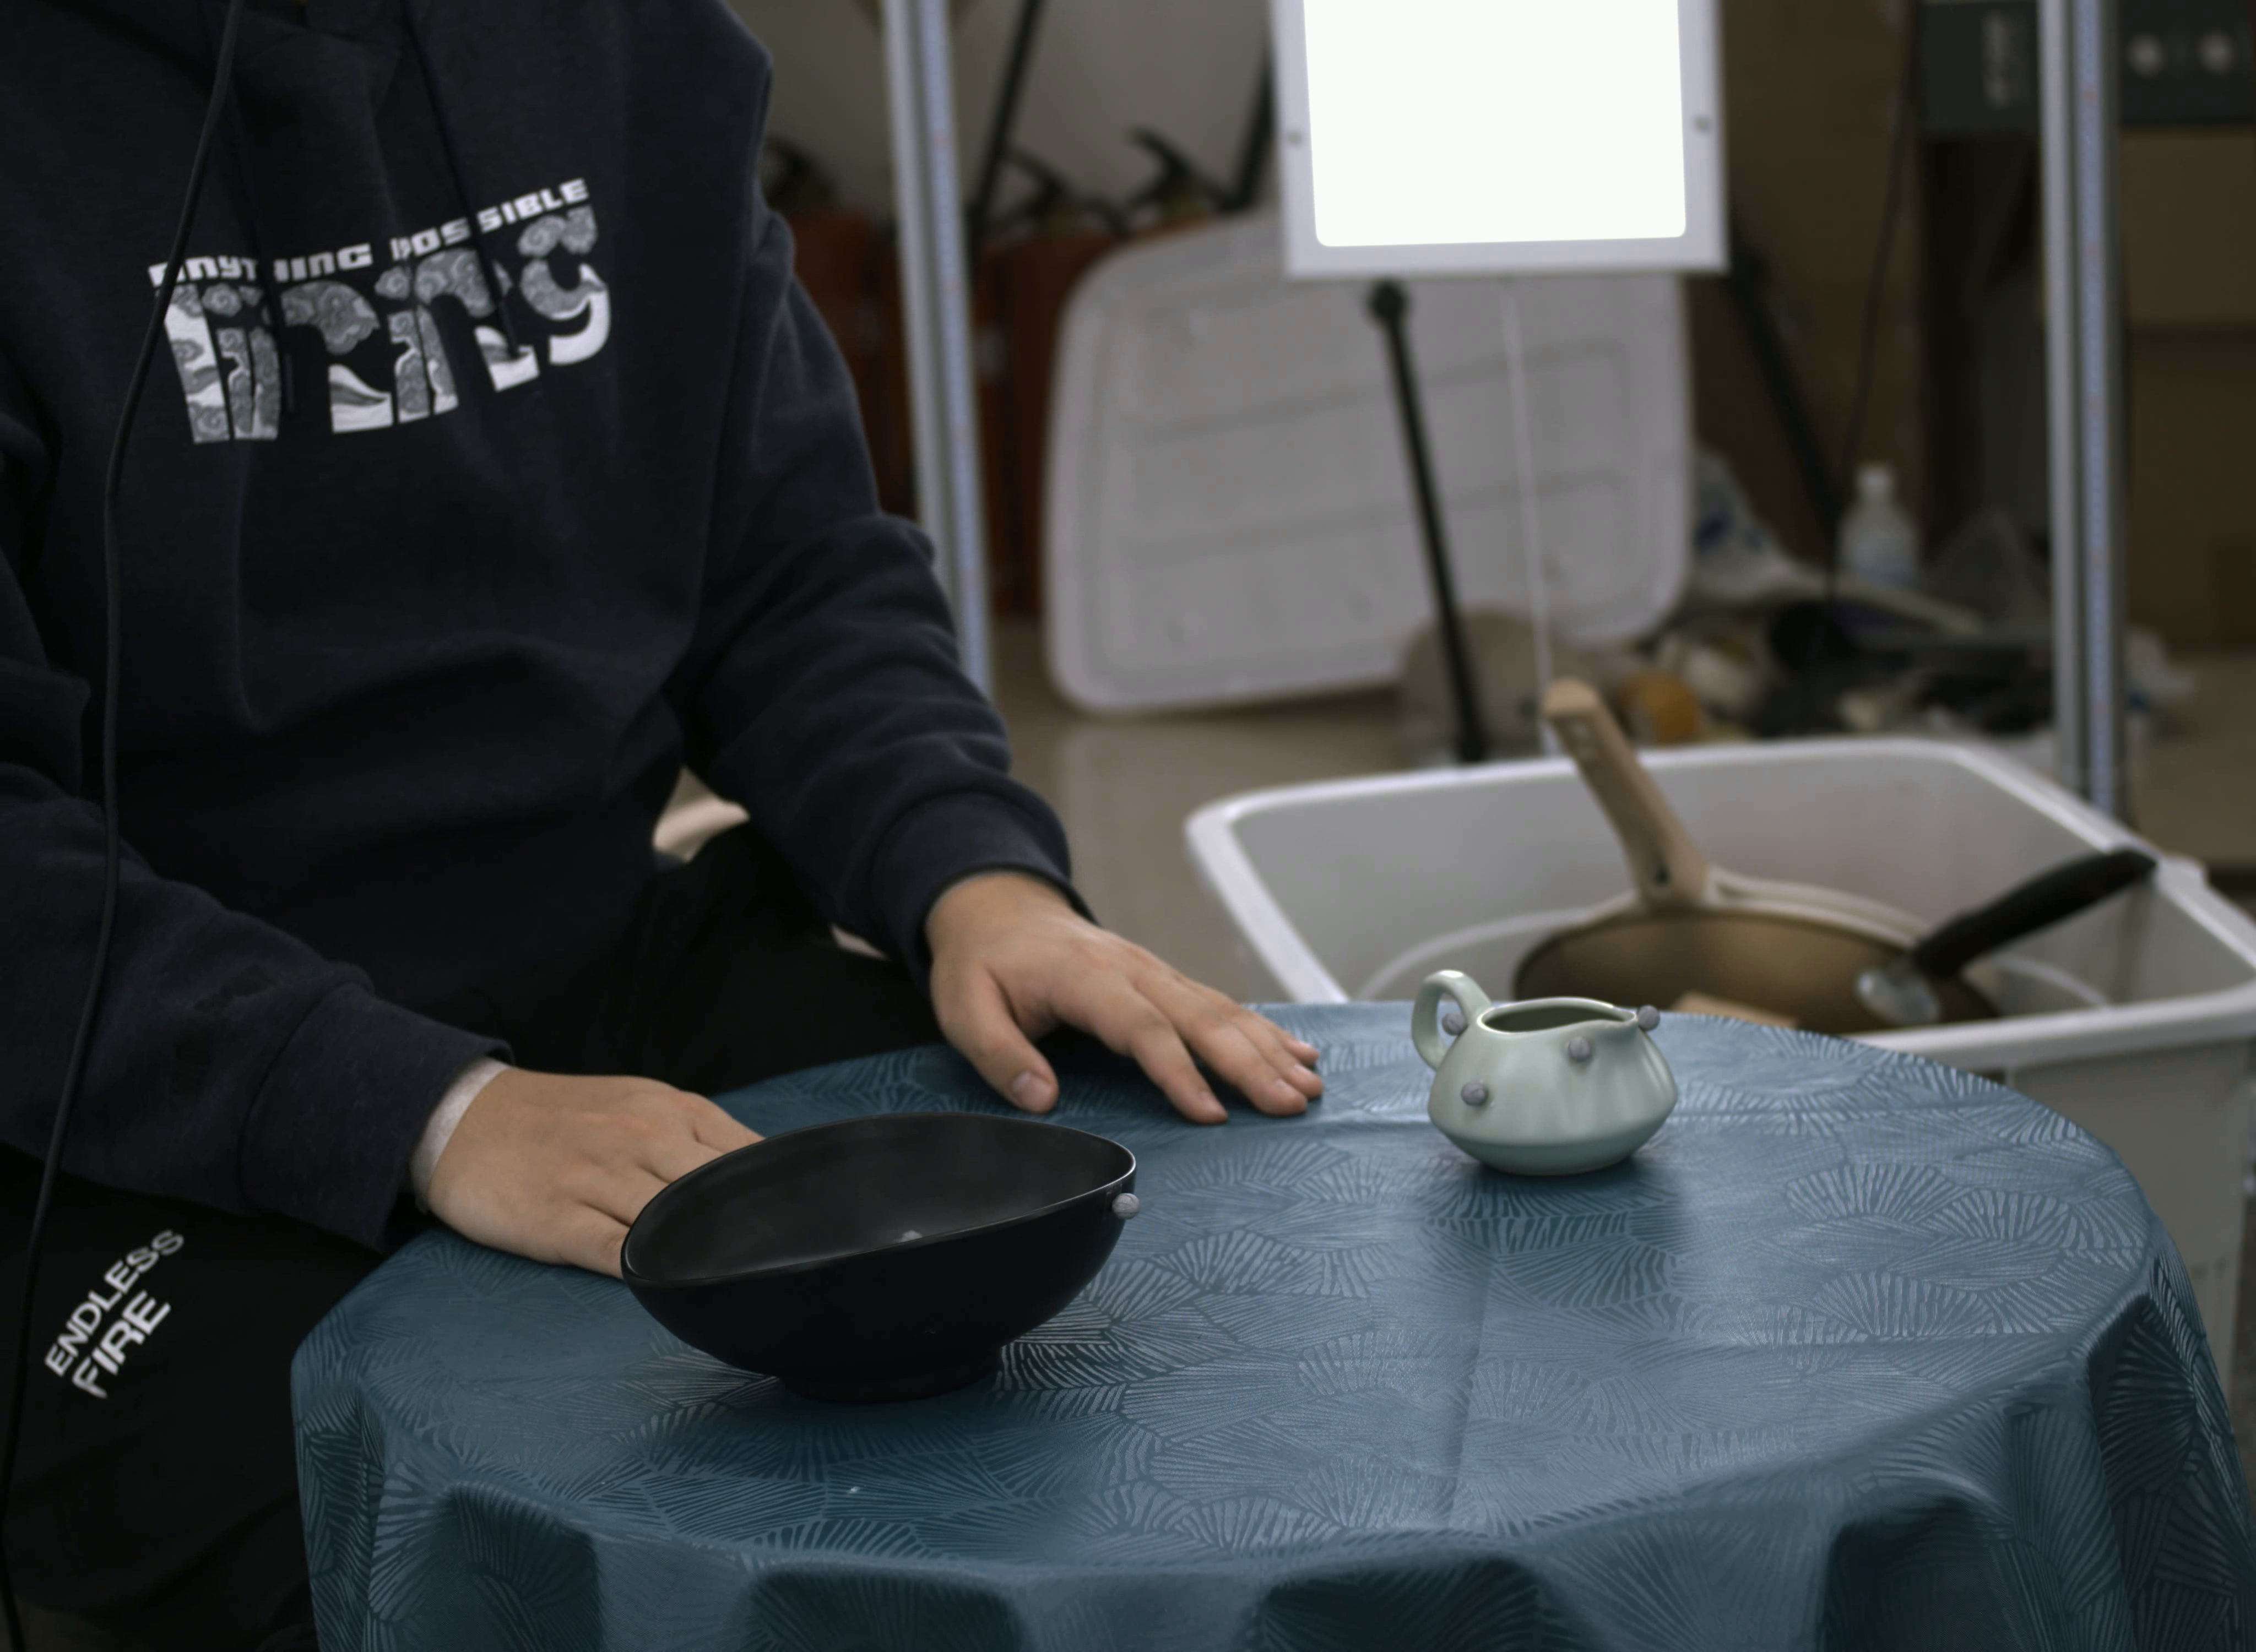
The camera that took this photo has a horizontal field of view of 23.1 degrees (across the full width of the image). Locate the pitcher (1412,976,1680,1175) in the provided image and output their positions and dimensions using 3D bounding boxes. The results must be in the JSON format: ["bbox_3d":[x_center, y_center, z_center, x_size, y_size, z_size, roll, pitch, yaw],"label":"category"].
[{"bbox_3d":[0.139,0.086,1.900,0.084,0.060,0.110,-15,15,-40],"label":"pitcher"}]

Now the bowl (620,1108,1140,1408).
[{"bbox_3d":[-0.074,0.141,1.732,0.167,0.067,0.140,-12,14,-25],"label":"bowl"}]
